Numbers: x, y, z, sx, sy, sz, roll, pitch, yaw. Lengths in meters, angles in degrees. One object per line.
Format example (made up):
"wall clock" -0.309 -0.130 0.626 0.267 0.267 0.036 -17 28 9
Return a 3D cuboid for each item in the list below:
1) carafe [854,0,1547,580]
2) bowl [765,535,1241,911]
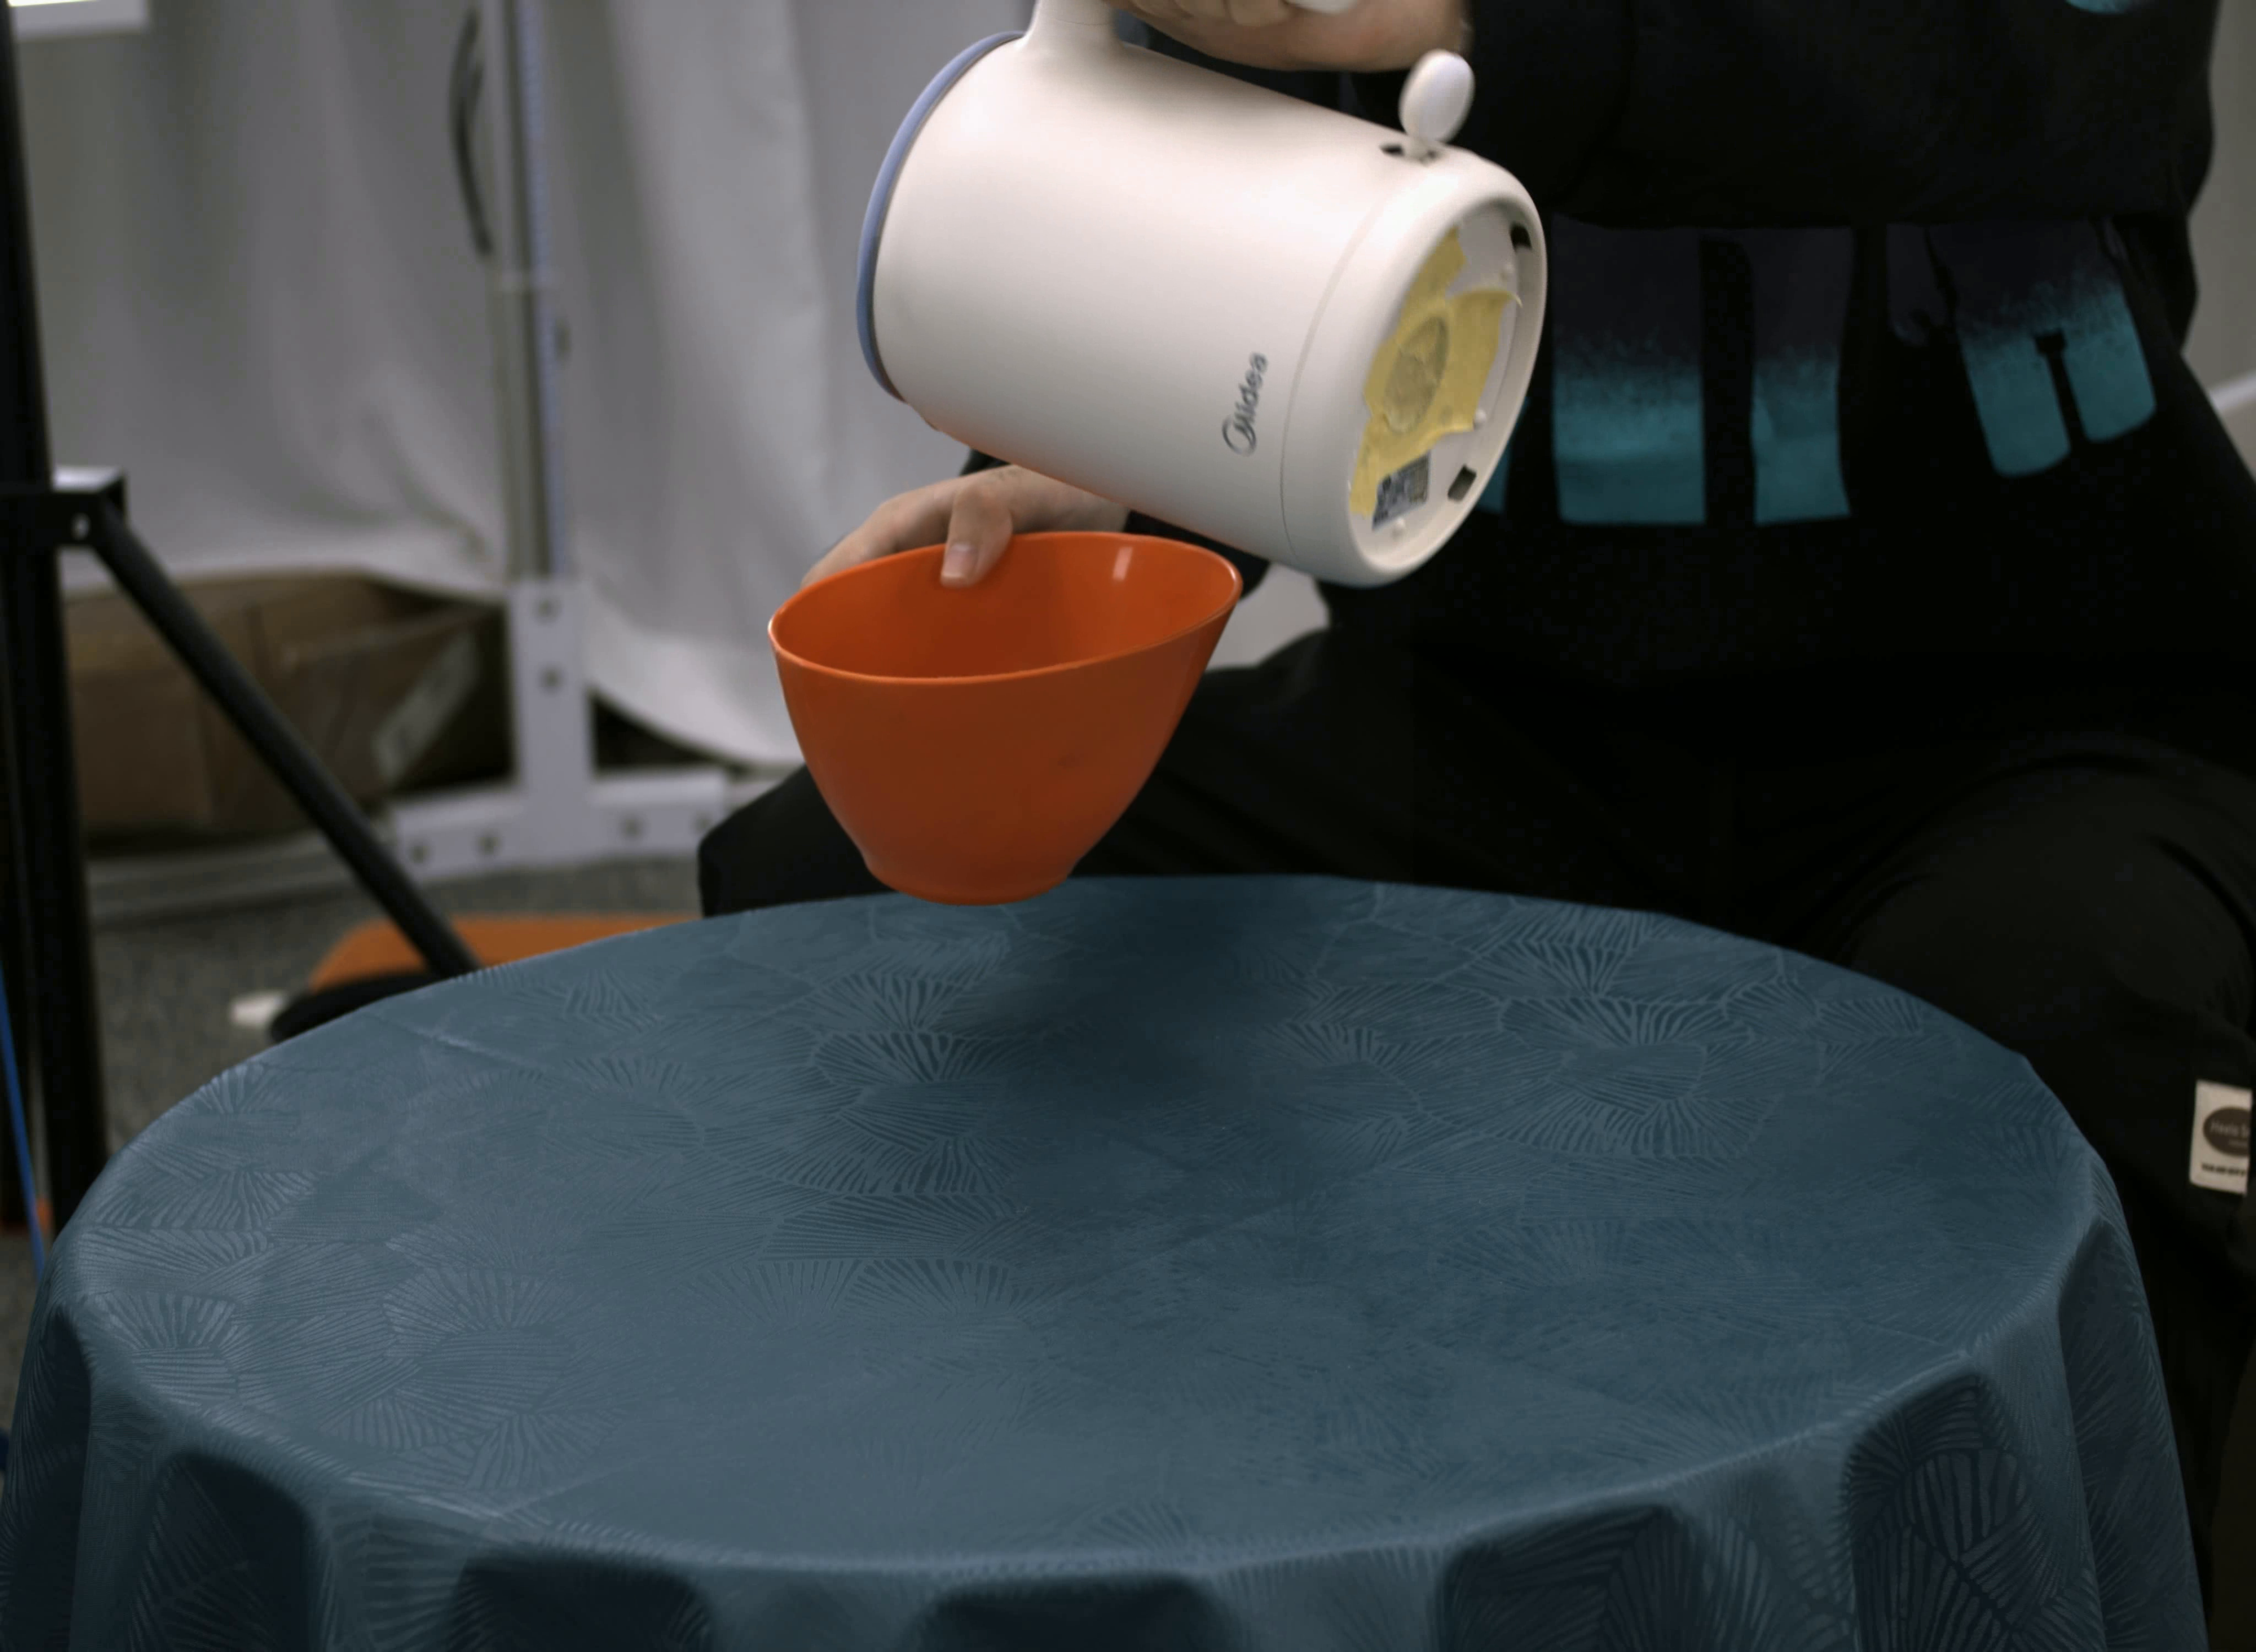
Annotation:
"carafe" 0.026 -0.180 1.572 0.185 0.191 0.130 23 26 25
"bowl" -0.041 -0.030 1.667 0.147 0.104 0.149 1 25 -2
